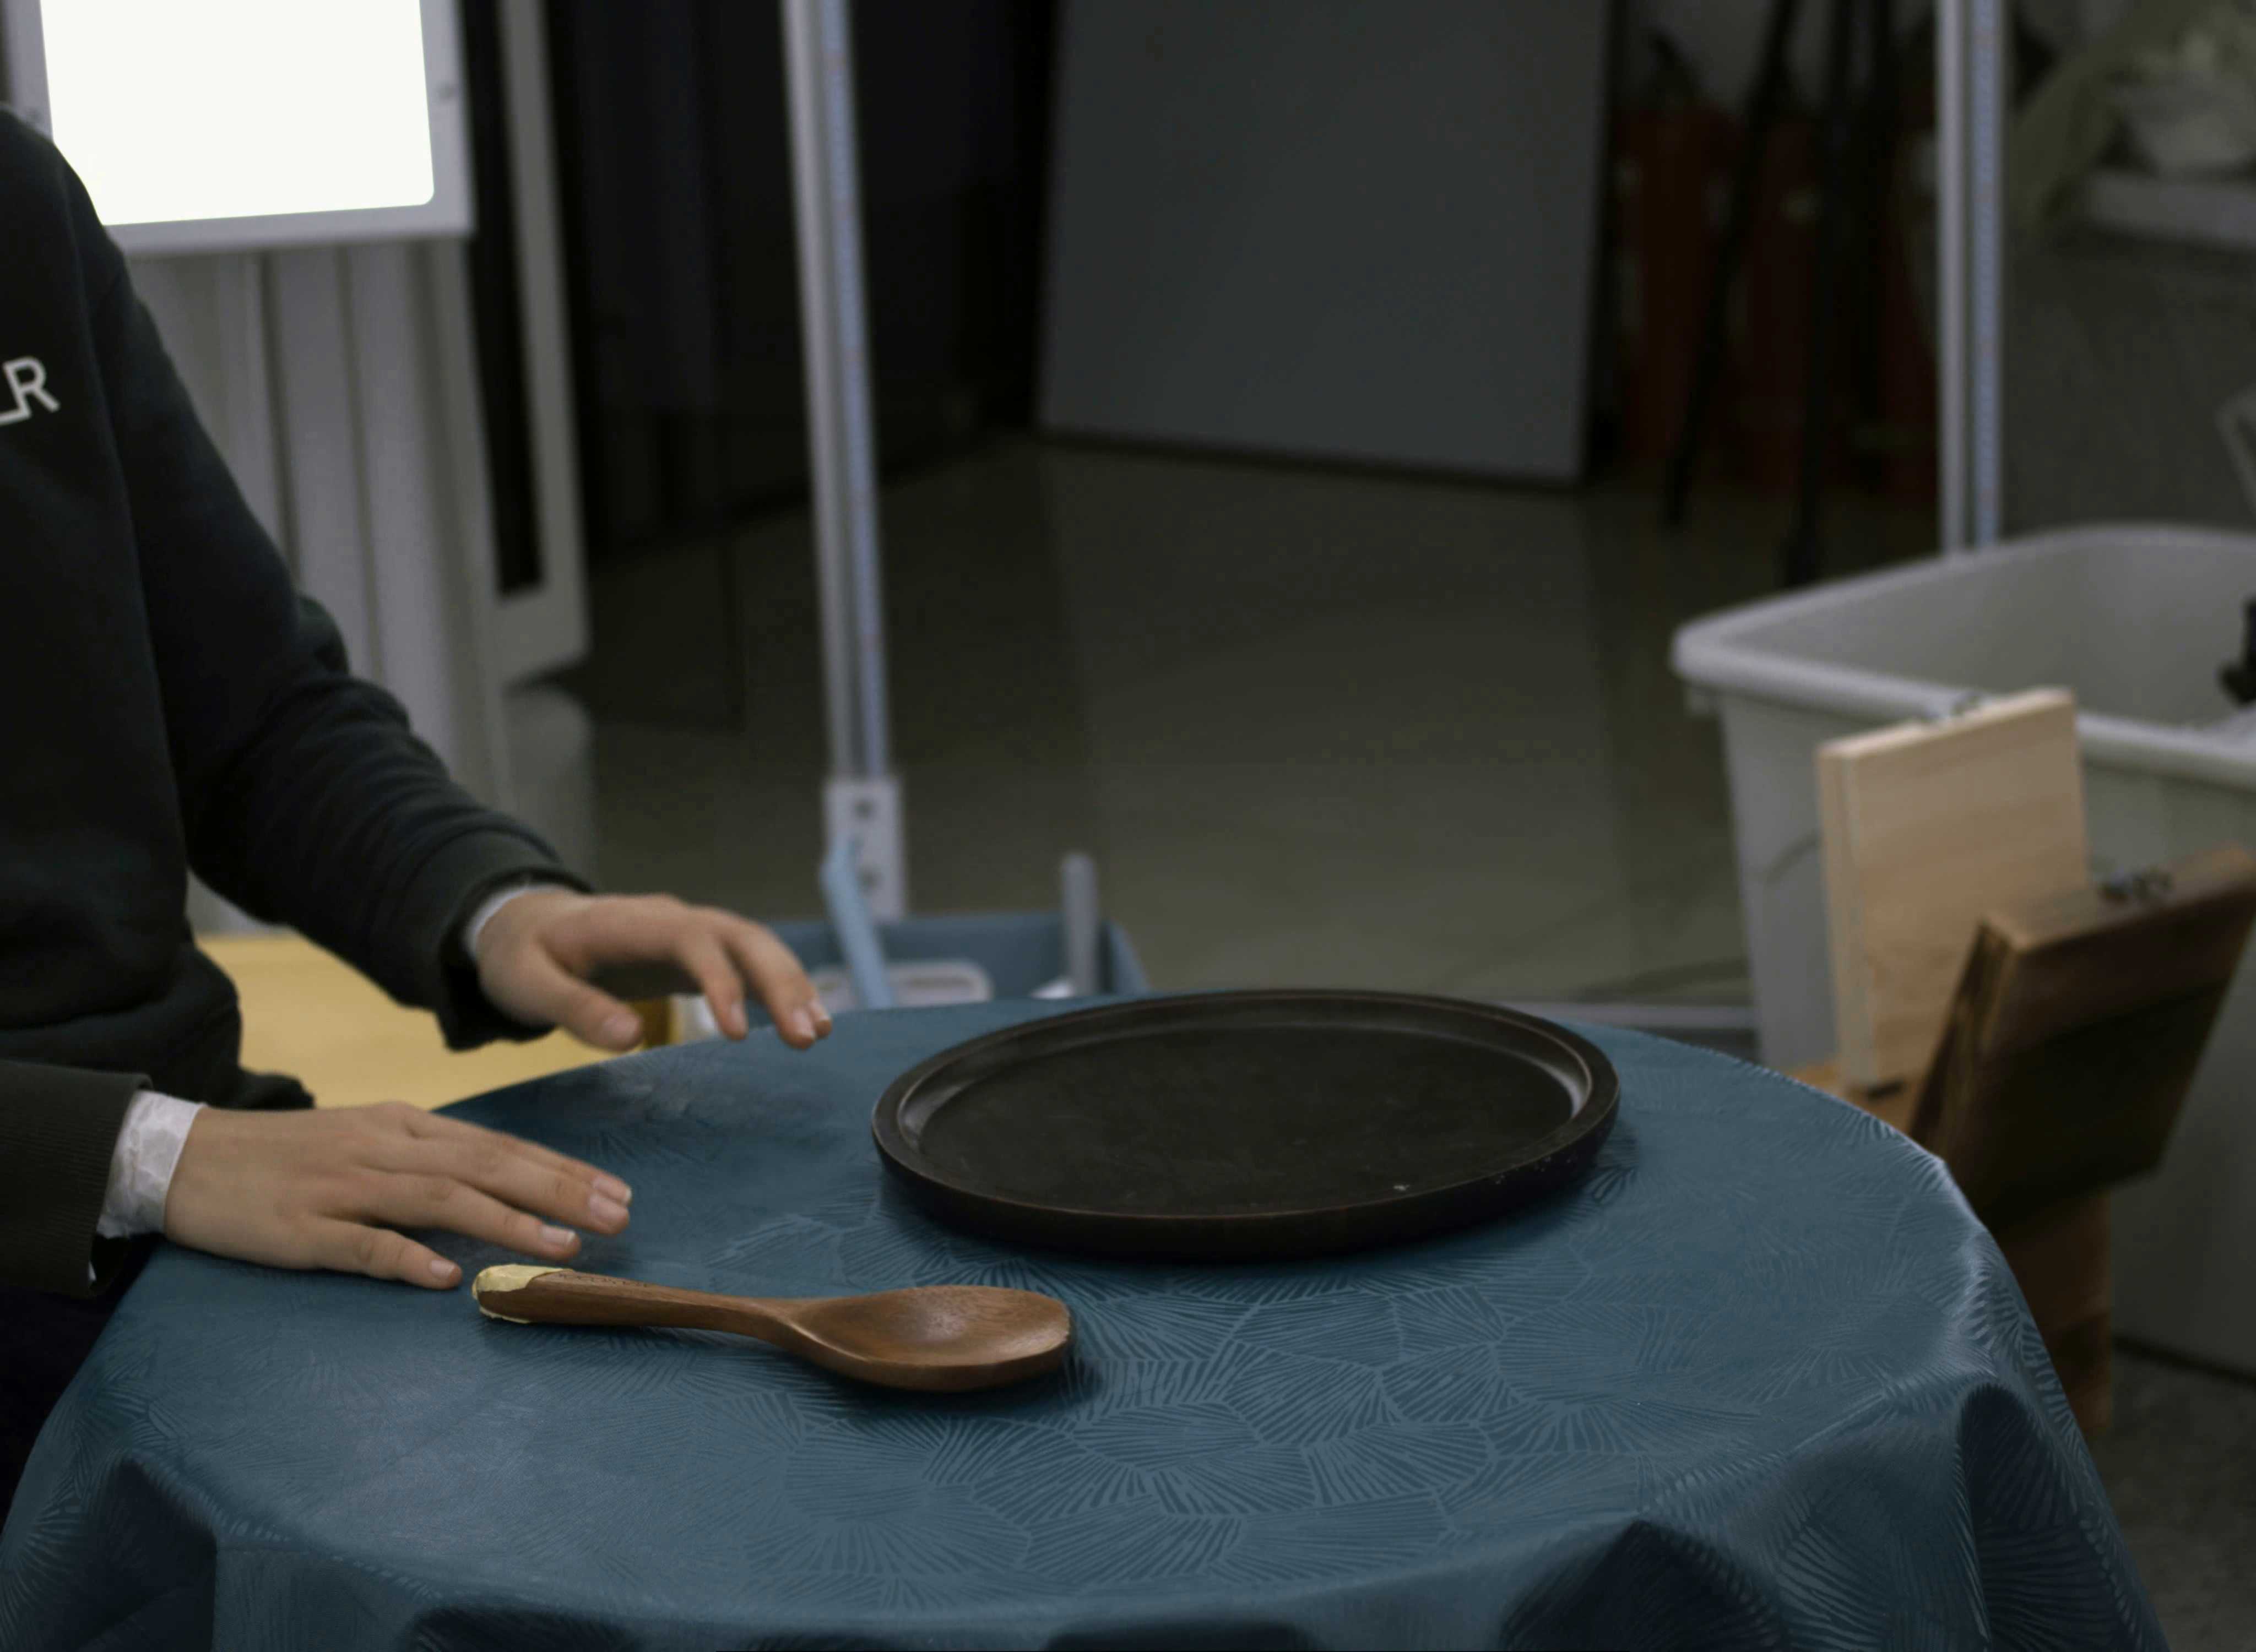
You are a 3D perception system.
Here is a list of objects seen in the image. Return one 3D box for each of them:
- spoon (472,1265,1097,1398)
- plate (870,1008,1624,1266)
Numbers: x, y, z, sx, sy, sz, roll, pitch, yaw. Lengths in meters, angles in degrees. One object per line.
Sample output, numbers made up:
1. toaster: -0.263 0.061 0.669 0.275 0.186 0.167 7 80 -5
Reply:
1. spoon: -0.107 0.152 1.642 0.216 0.017 0.074 4 16 29
2. plate: 0.040 0.101 1.797 0.251 0.029 0.255 -3 14 0
